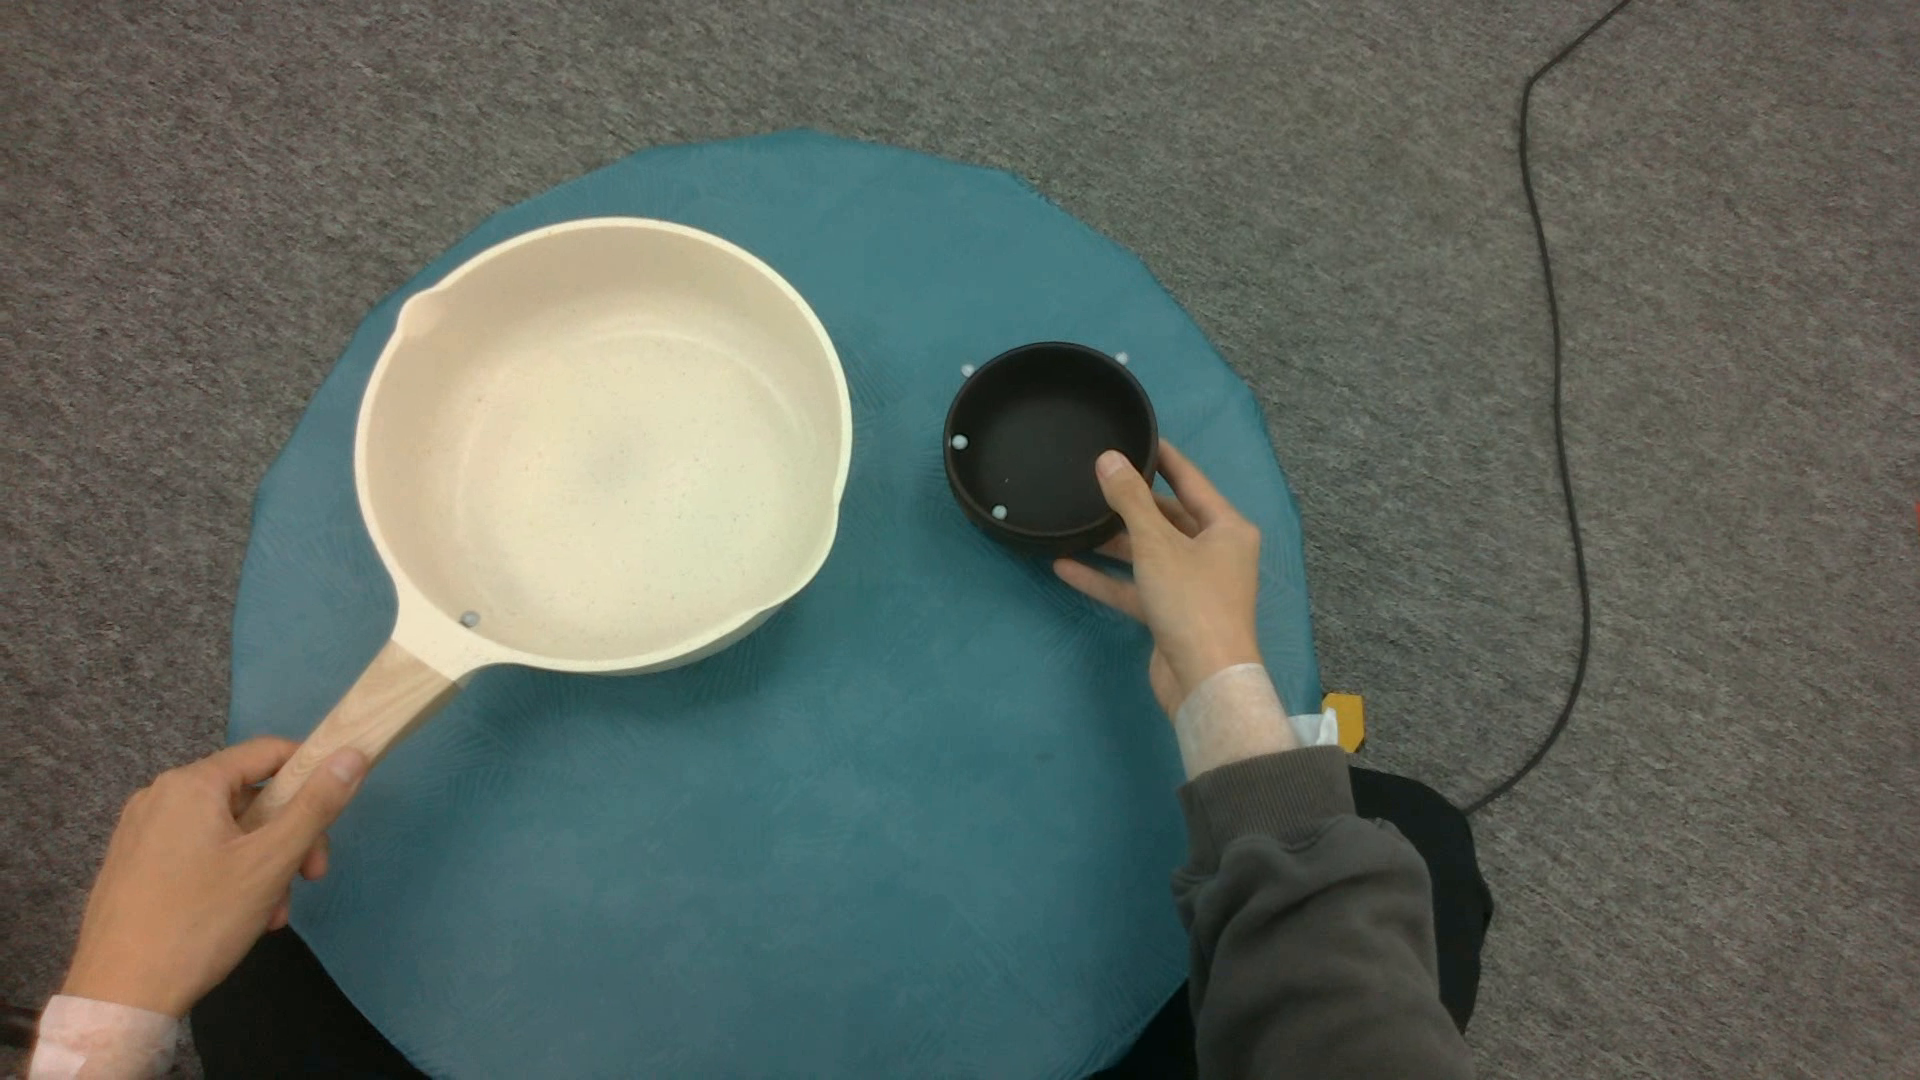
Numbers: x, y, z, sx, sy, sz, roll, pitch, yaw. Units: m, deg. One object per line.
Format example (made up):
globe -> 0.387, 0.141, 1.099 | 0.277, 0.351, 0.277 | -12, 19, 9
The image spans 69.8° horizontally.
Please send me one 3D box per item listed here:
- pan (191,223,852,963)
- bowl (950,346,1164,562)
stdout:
pan -> -0.233, 0.028, 0.733 | 0.263, 0.101, 0.436 | 32, 75, 7
bowl -> 0.055, -0.043, 0.774 | 0.118, 0.069, 0.118 | -1, 71, 4
